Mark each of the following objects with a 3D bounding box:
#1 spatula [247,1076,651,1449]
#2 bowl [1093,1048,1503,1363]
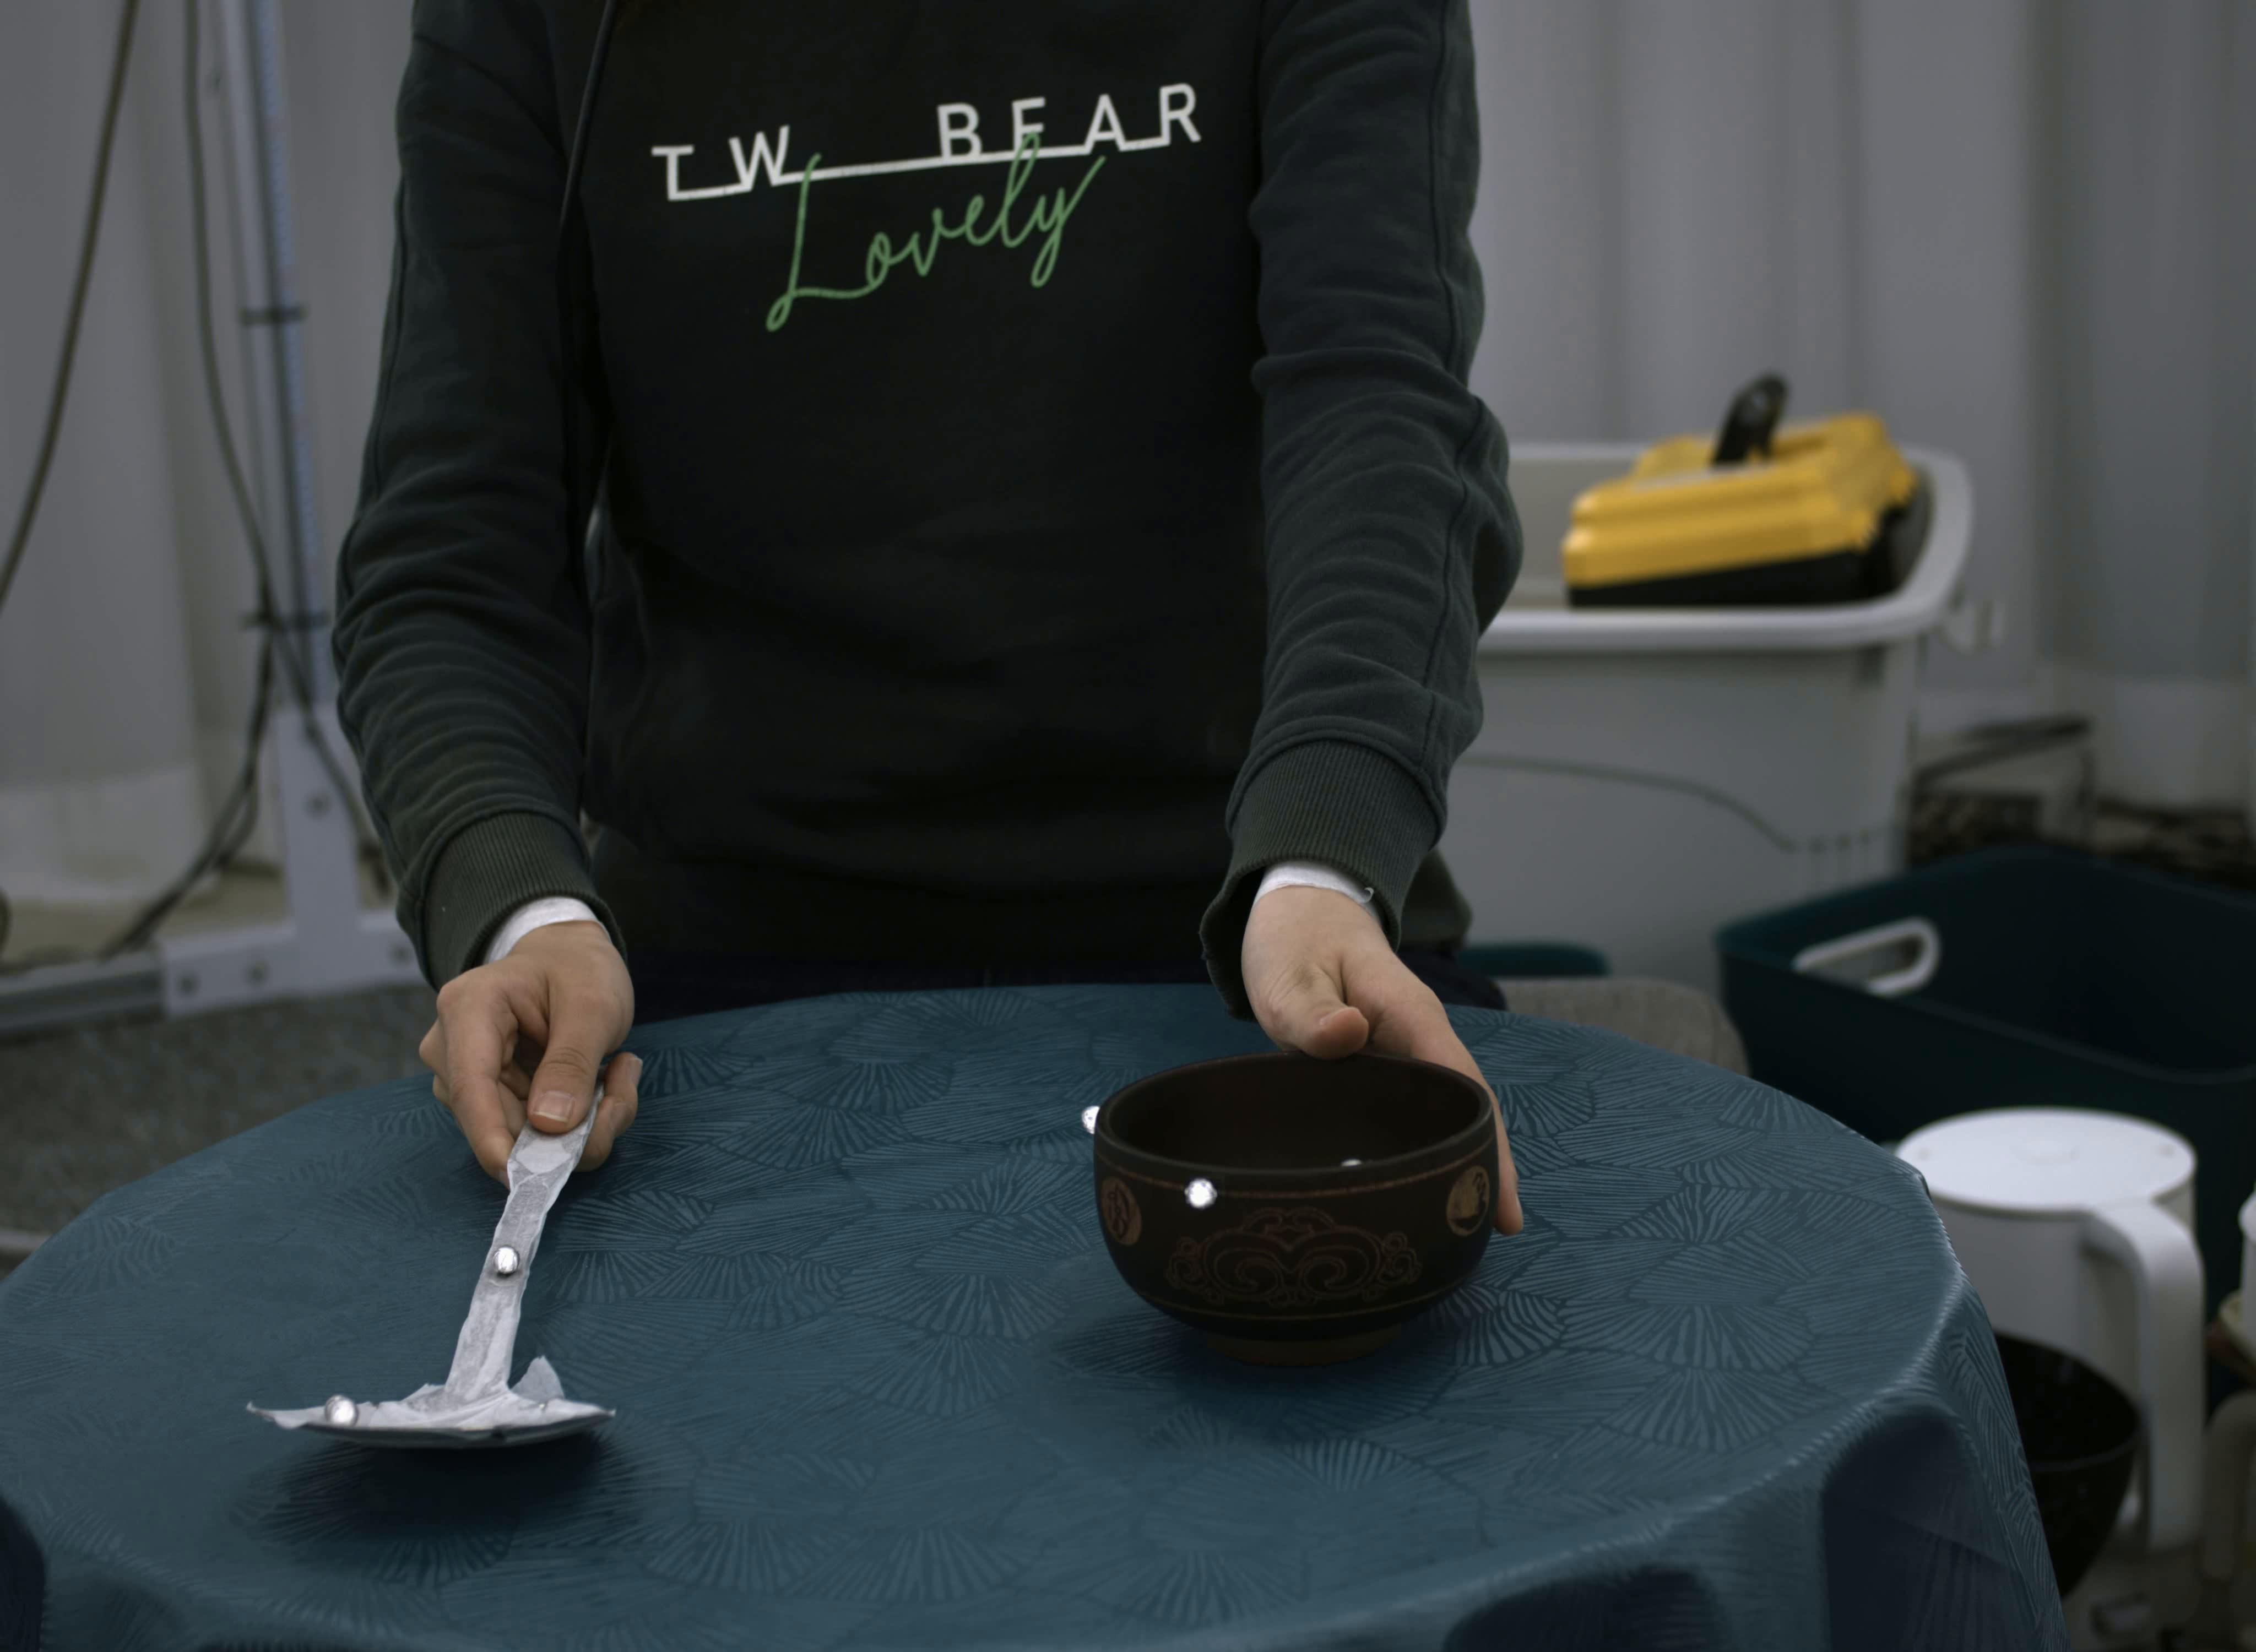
[{"bbox_3d":[-0.179,0.122,1.629,0.098,0.044,0.367,-2,18,4],"label":"spatula"},{"bbox_3d":[0.049,0.113,1.574,0.117,0.069,0.119,-1,14,0],"label":"bowl"}]
